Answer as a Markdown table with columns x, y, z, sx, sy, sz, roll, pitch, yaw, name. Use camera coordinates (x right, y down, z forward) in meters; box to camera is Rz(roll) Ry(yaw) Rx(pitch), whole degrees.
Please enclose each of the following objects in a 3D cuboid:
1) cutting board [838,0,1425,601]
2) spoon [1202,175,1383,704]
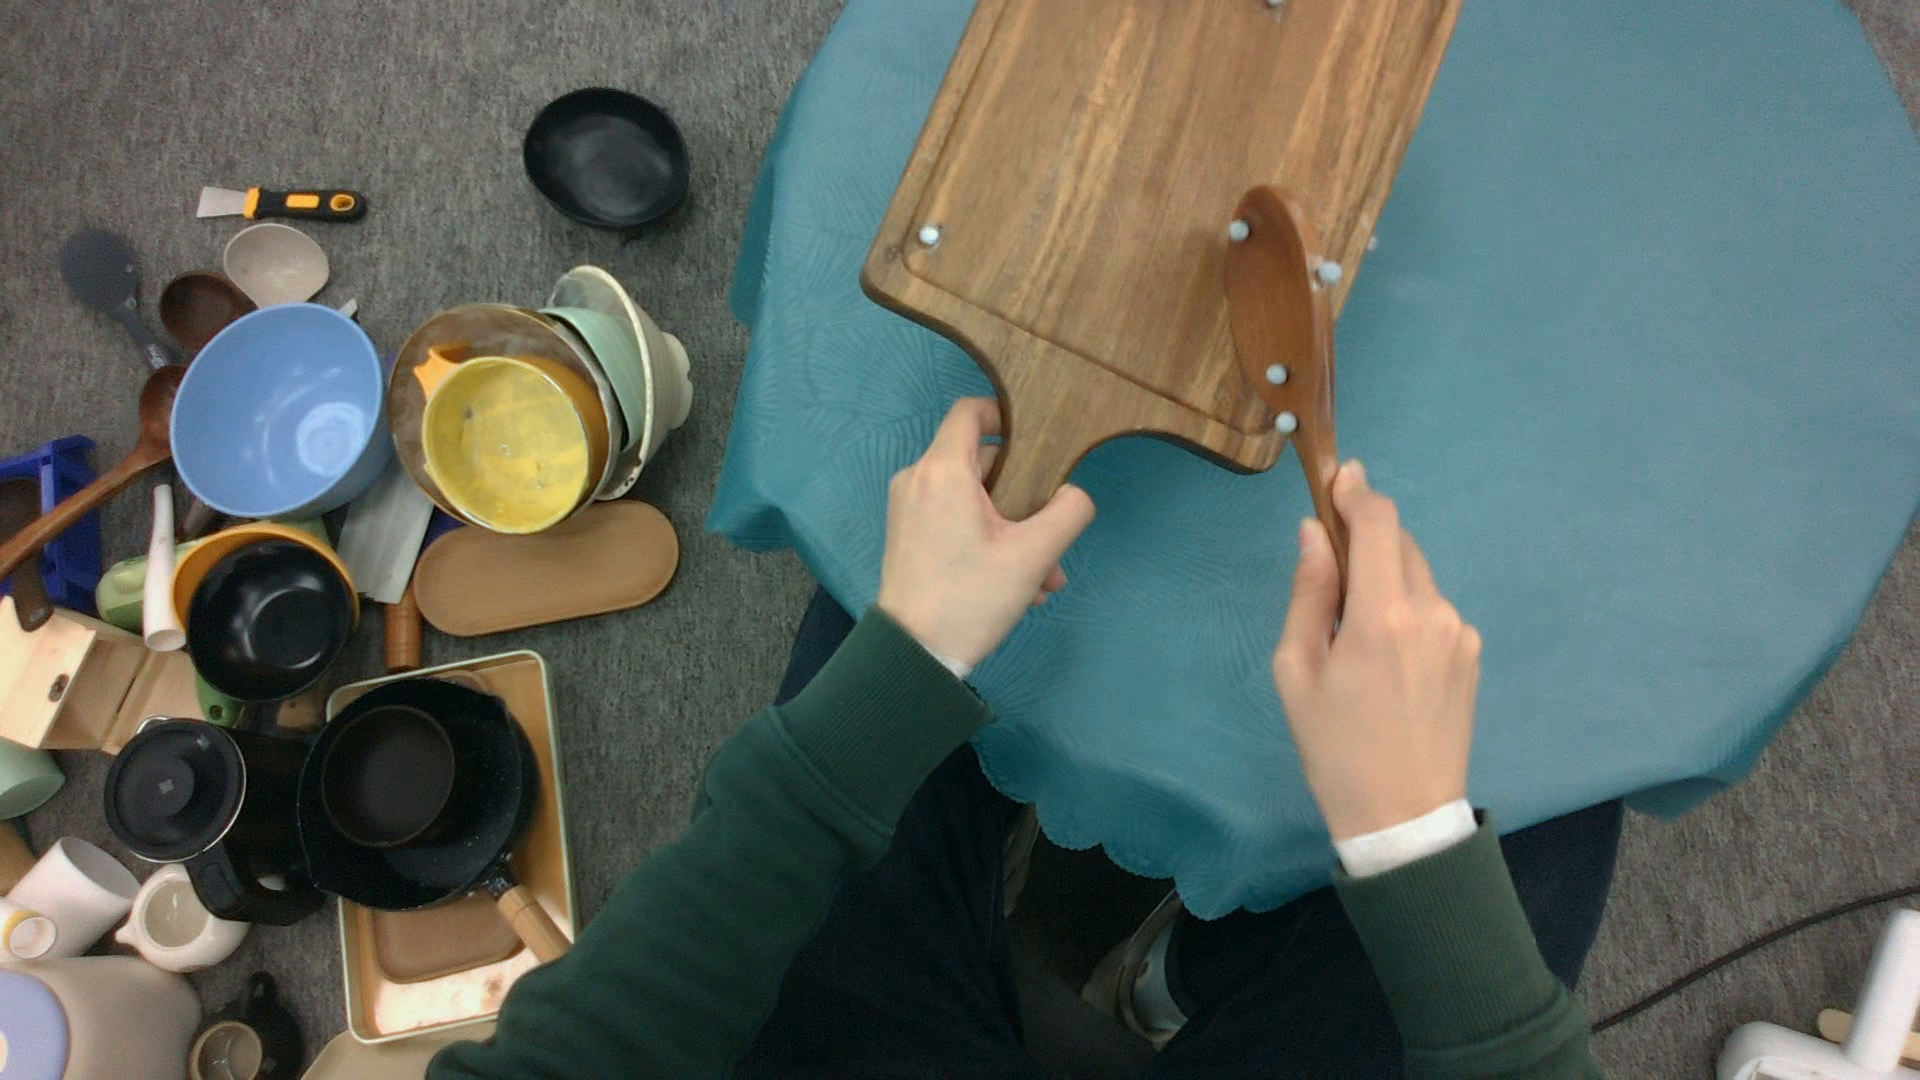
| x | y | z | sx | sy | sz | roll | pitch | yaw | name |
| --- | --- | --- | --- | --- | --- | --- | --- | --- | --- |
| 0.064 | -0.139 | 0.587 | 0.201 | 0.023 | 0.352 | 24 | 83 | -13 | cutting board |
| 0.133 | -0.042 | 0.543 | 0.017 | 0.075 | 0.216 | -6 | 77 | -18 | spoon |
